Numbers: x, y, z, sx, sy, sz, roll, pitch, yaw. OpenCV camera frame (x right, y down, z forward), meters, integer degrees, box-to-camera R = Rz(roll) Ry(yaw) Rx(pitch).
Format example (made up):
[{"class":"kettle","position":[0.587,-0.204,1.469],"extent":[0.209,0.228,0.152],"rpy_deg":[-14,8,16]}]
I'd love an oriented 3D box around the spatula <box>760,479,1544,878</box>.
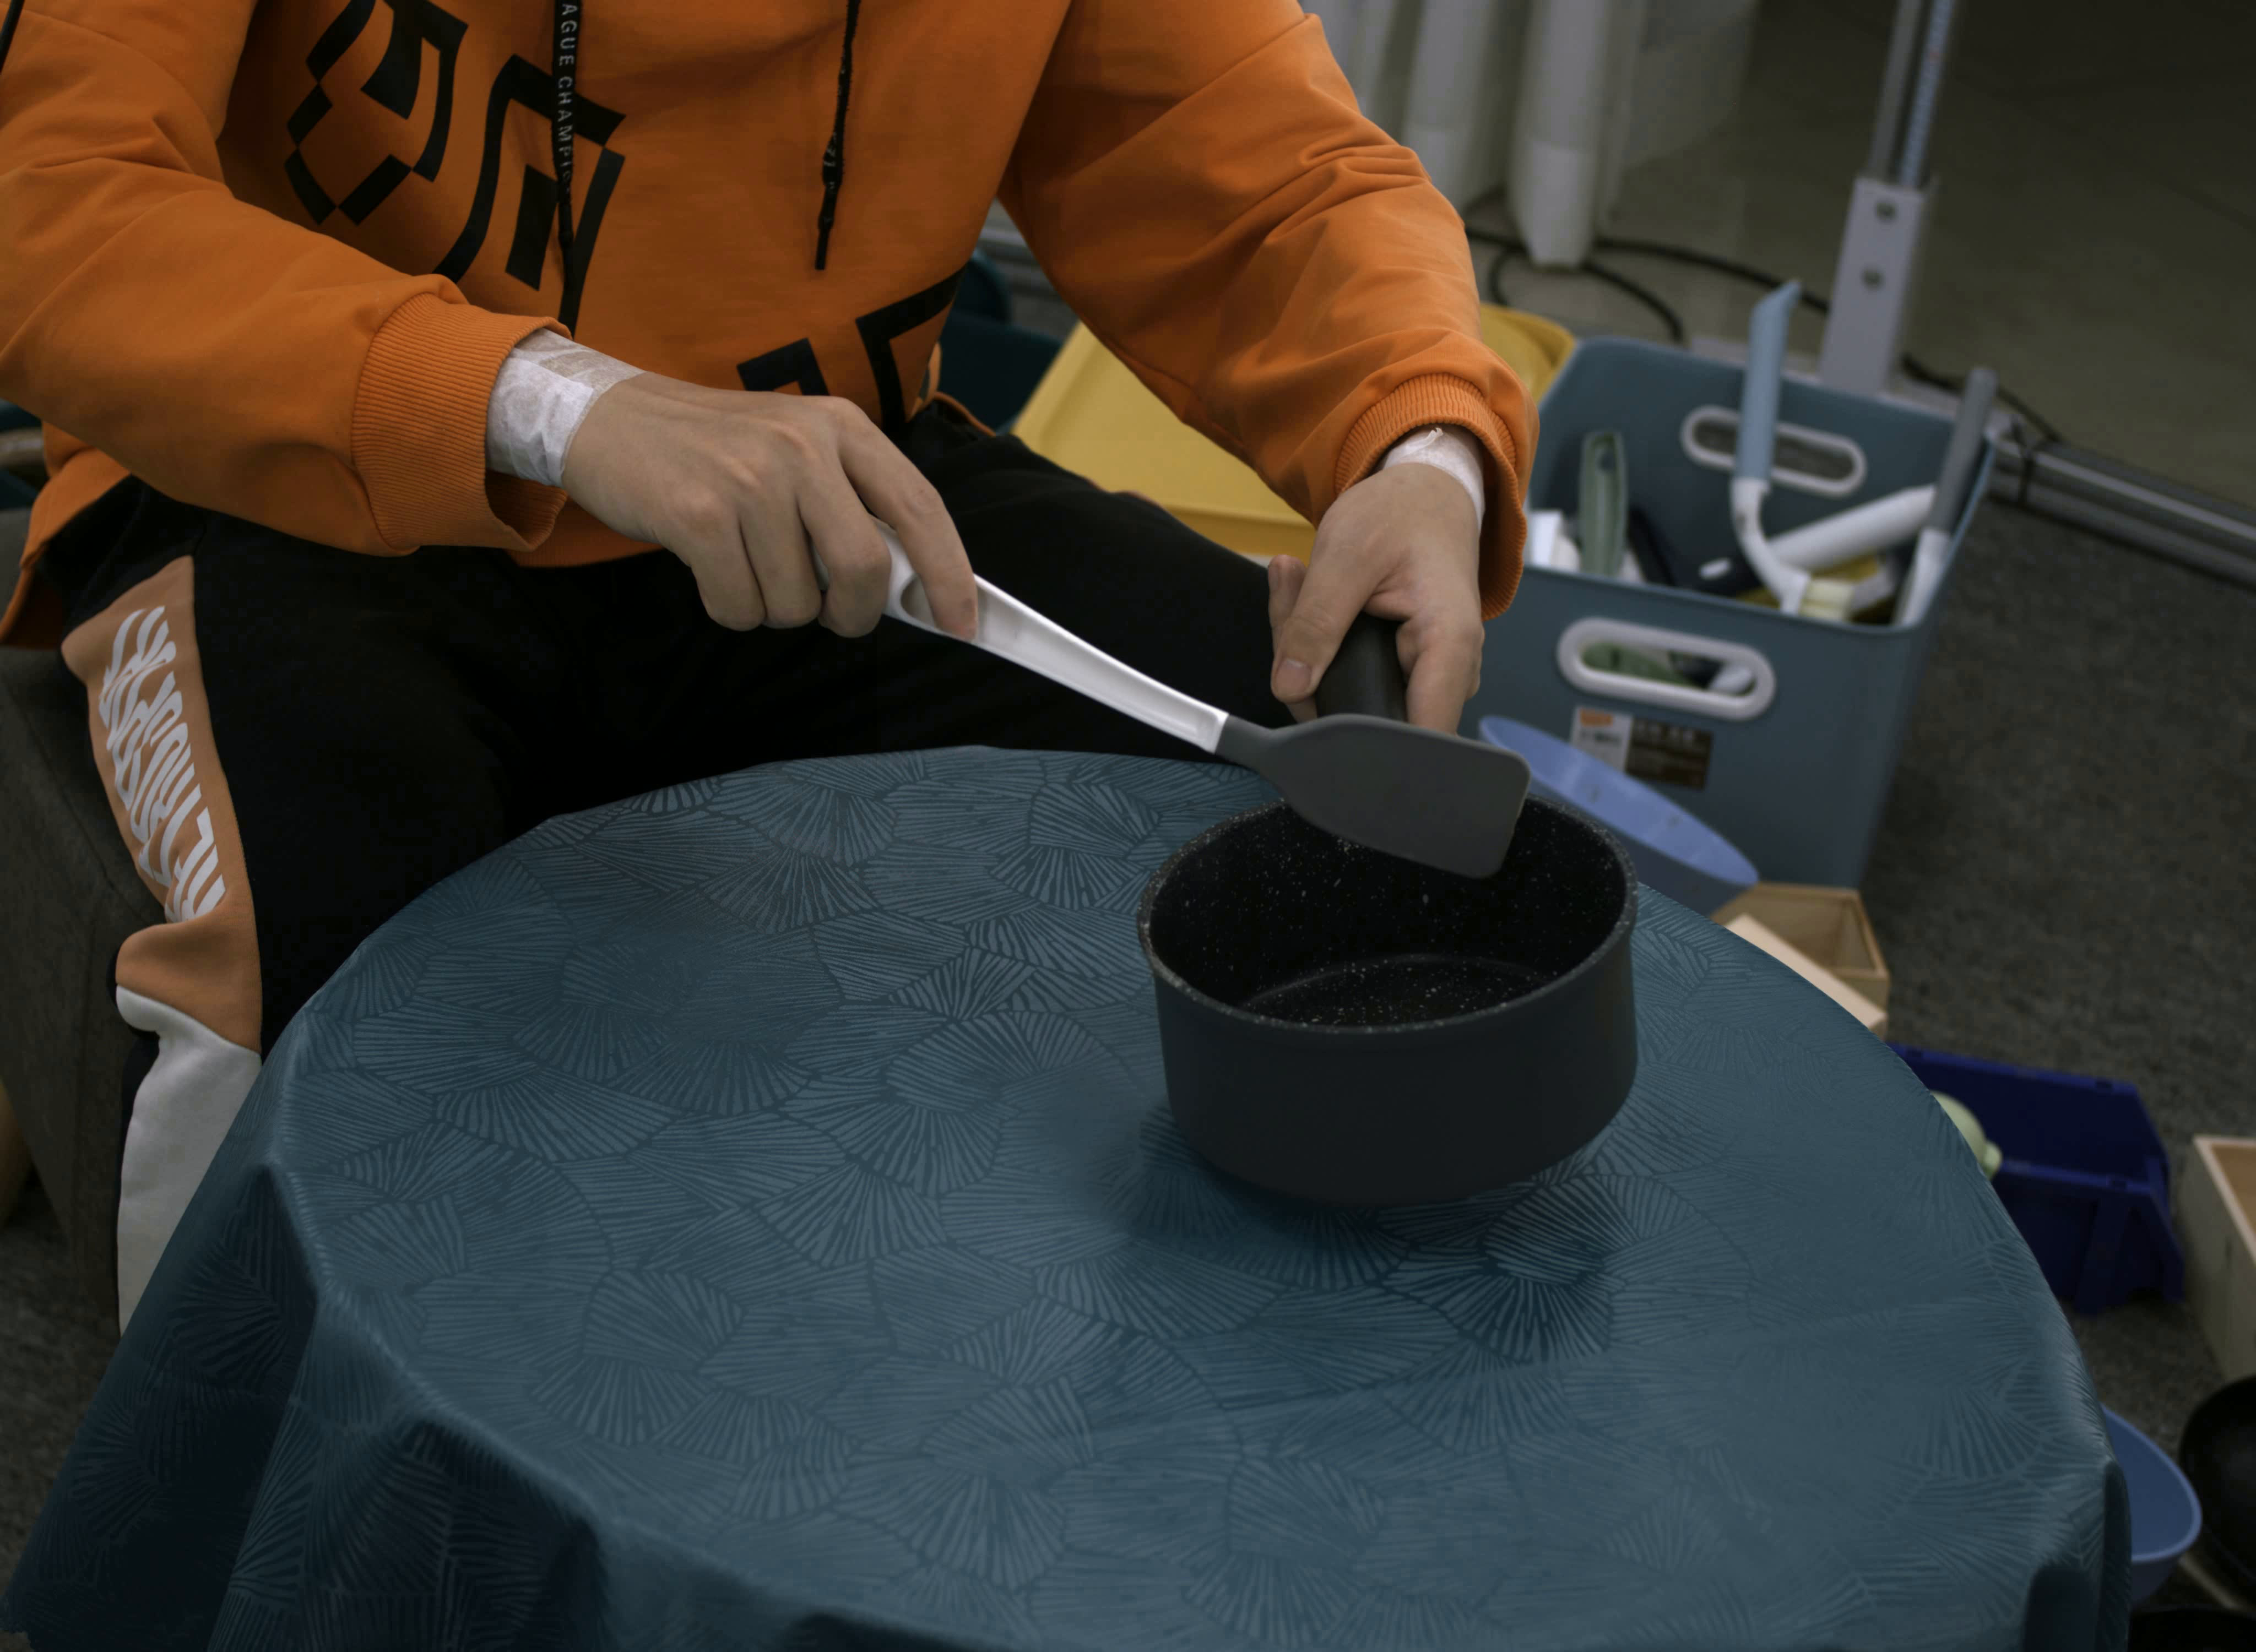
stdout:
[{"class":"spatula","position":[0.006,-0.053,1.861],"extent":[0.288,0.058,0.032],"rpy_deg":[23,25,11]}]

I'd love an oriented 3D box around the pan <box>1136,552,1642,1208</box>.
[{"class":"pan","position":[0.092,0.016,1.889],"extent":[0.171,0.086,0.331],"rpy_deg":[-4,30,4]}]
